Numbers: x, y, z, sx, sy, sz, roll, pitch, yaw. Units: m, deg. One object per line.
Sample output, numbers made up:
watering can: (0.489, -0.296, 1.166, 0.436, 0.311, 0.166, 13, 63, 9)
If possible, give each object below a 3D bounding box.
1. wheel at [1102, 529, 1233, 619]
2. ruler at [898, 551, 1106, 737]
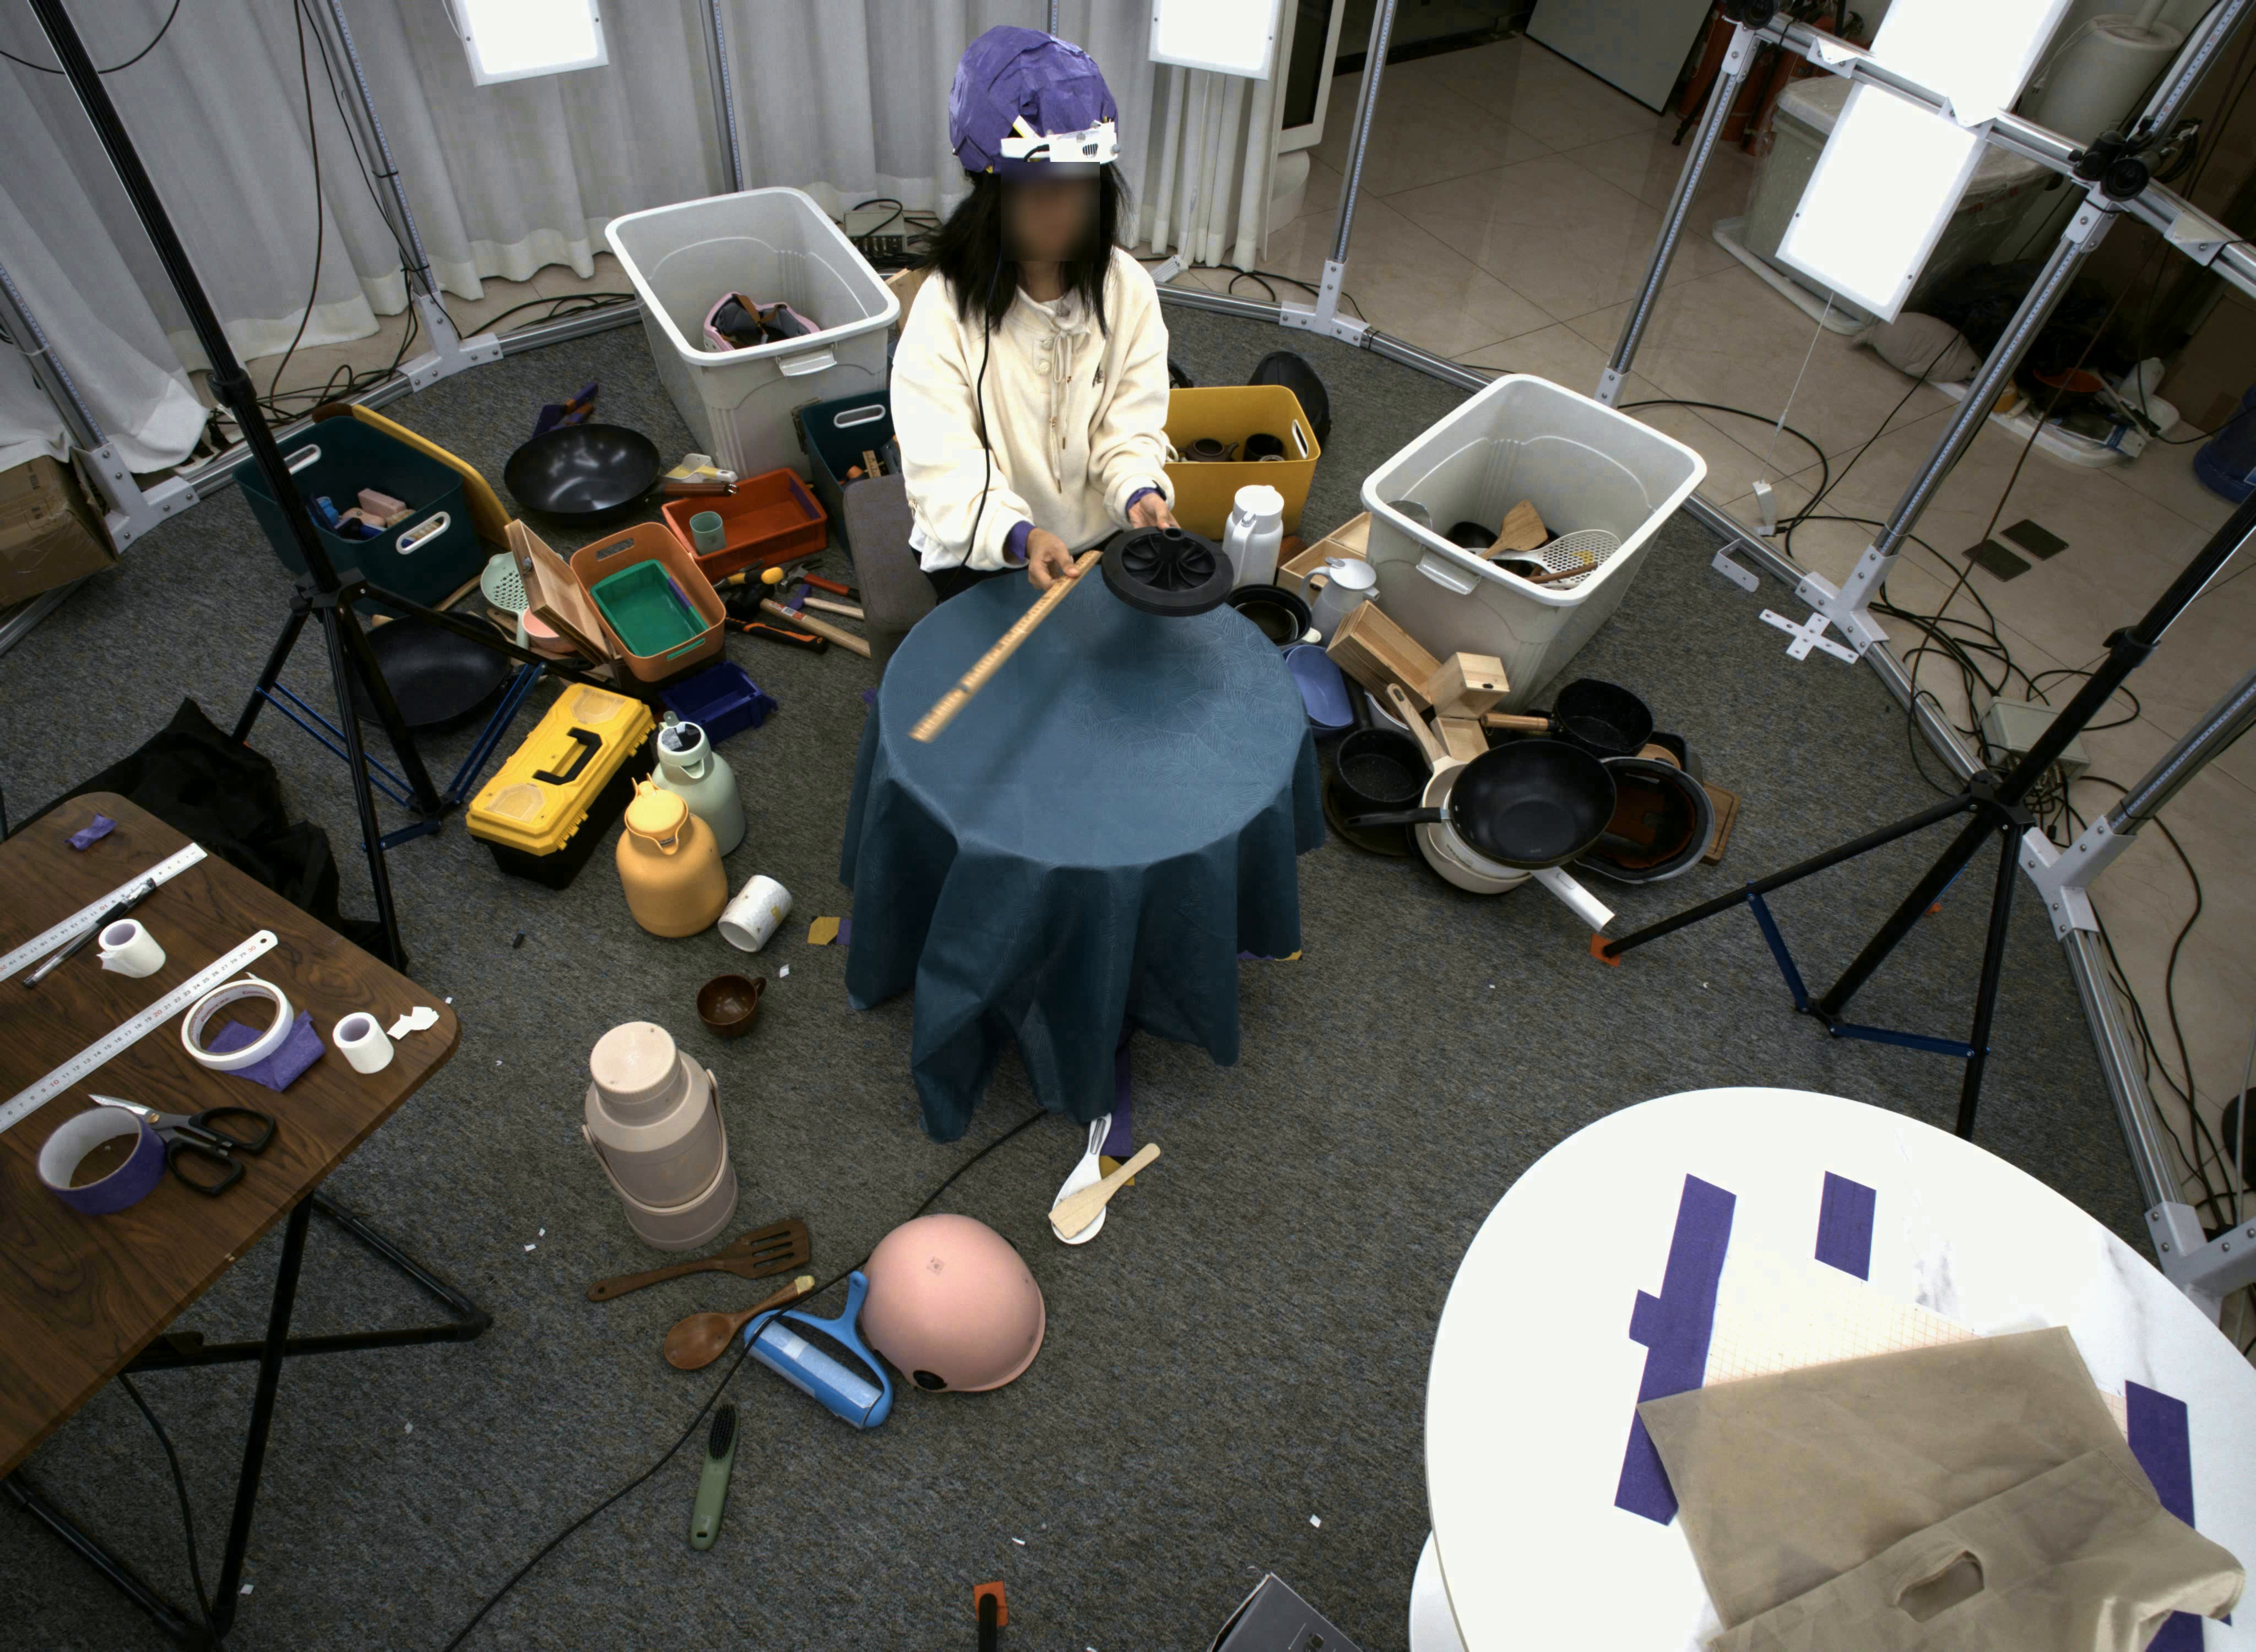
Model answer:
wheel: (0.059, -0.374, 1.809, 0.187, 0.077, 0.194, 14, 45, 5)
ruler: (-0.148, -0.247, 1.651, 0.027, 0.006, 0.509, 13, 40, 21)
